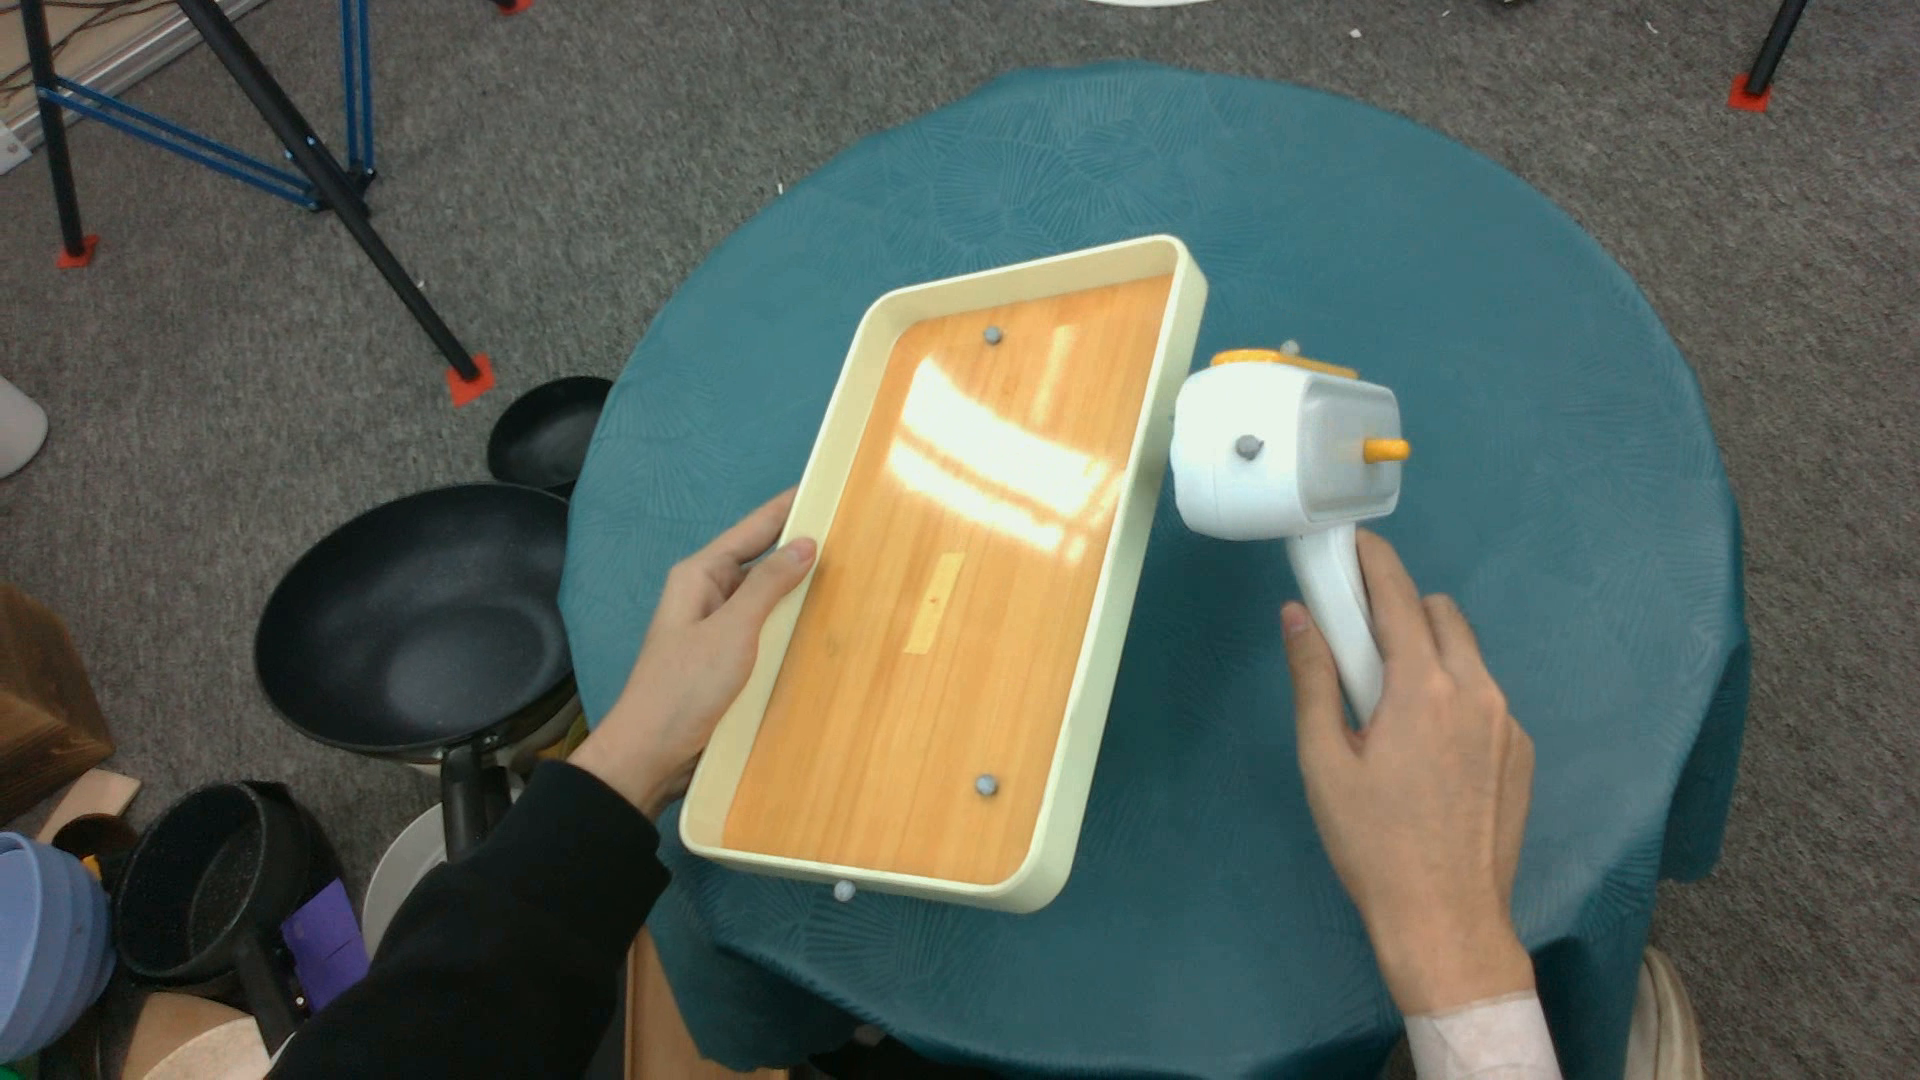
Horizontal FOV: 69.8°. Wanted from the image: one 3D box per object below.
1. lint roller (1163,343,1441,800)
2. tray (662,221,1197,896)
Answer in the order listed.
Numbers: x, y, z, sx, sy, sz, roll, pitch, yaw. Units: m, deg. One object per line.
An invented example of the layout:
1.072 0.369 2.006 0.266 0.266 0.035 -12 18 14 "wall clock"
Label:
0.149 0.013 0.560 0.074 0.193 0.192 -10 92 24 "lint roller"
-0.011 -0.003 0.602 0.191 0.027 0.301 -2 60 36 "tray"
